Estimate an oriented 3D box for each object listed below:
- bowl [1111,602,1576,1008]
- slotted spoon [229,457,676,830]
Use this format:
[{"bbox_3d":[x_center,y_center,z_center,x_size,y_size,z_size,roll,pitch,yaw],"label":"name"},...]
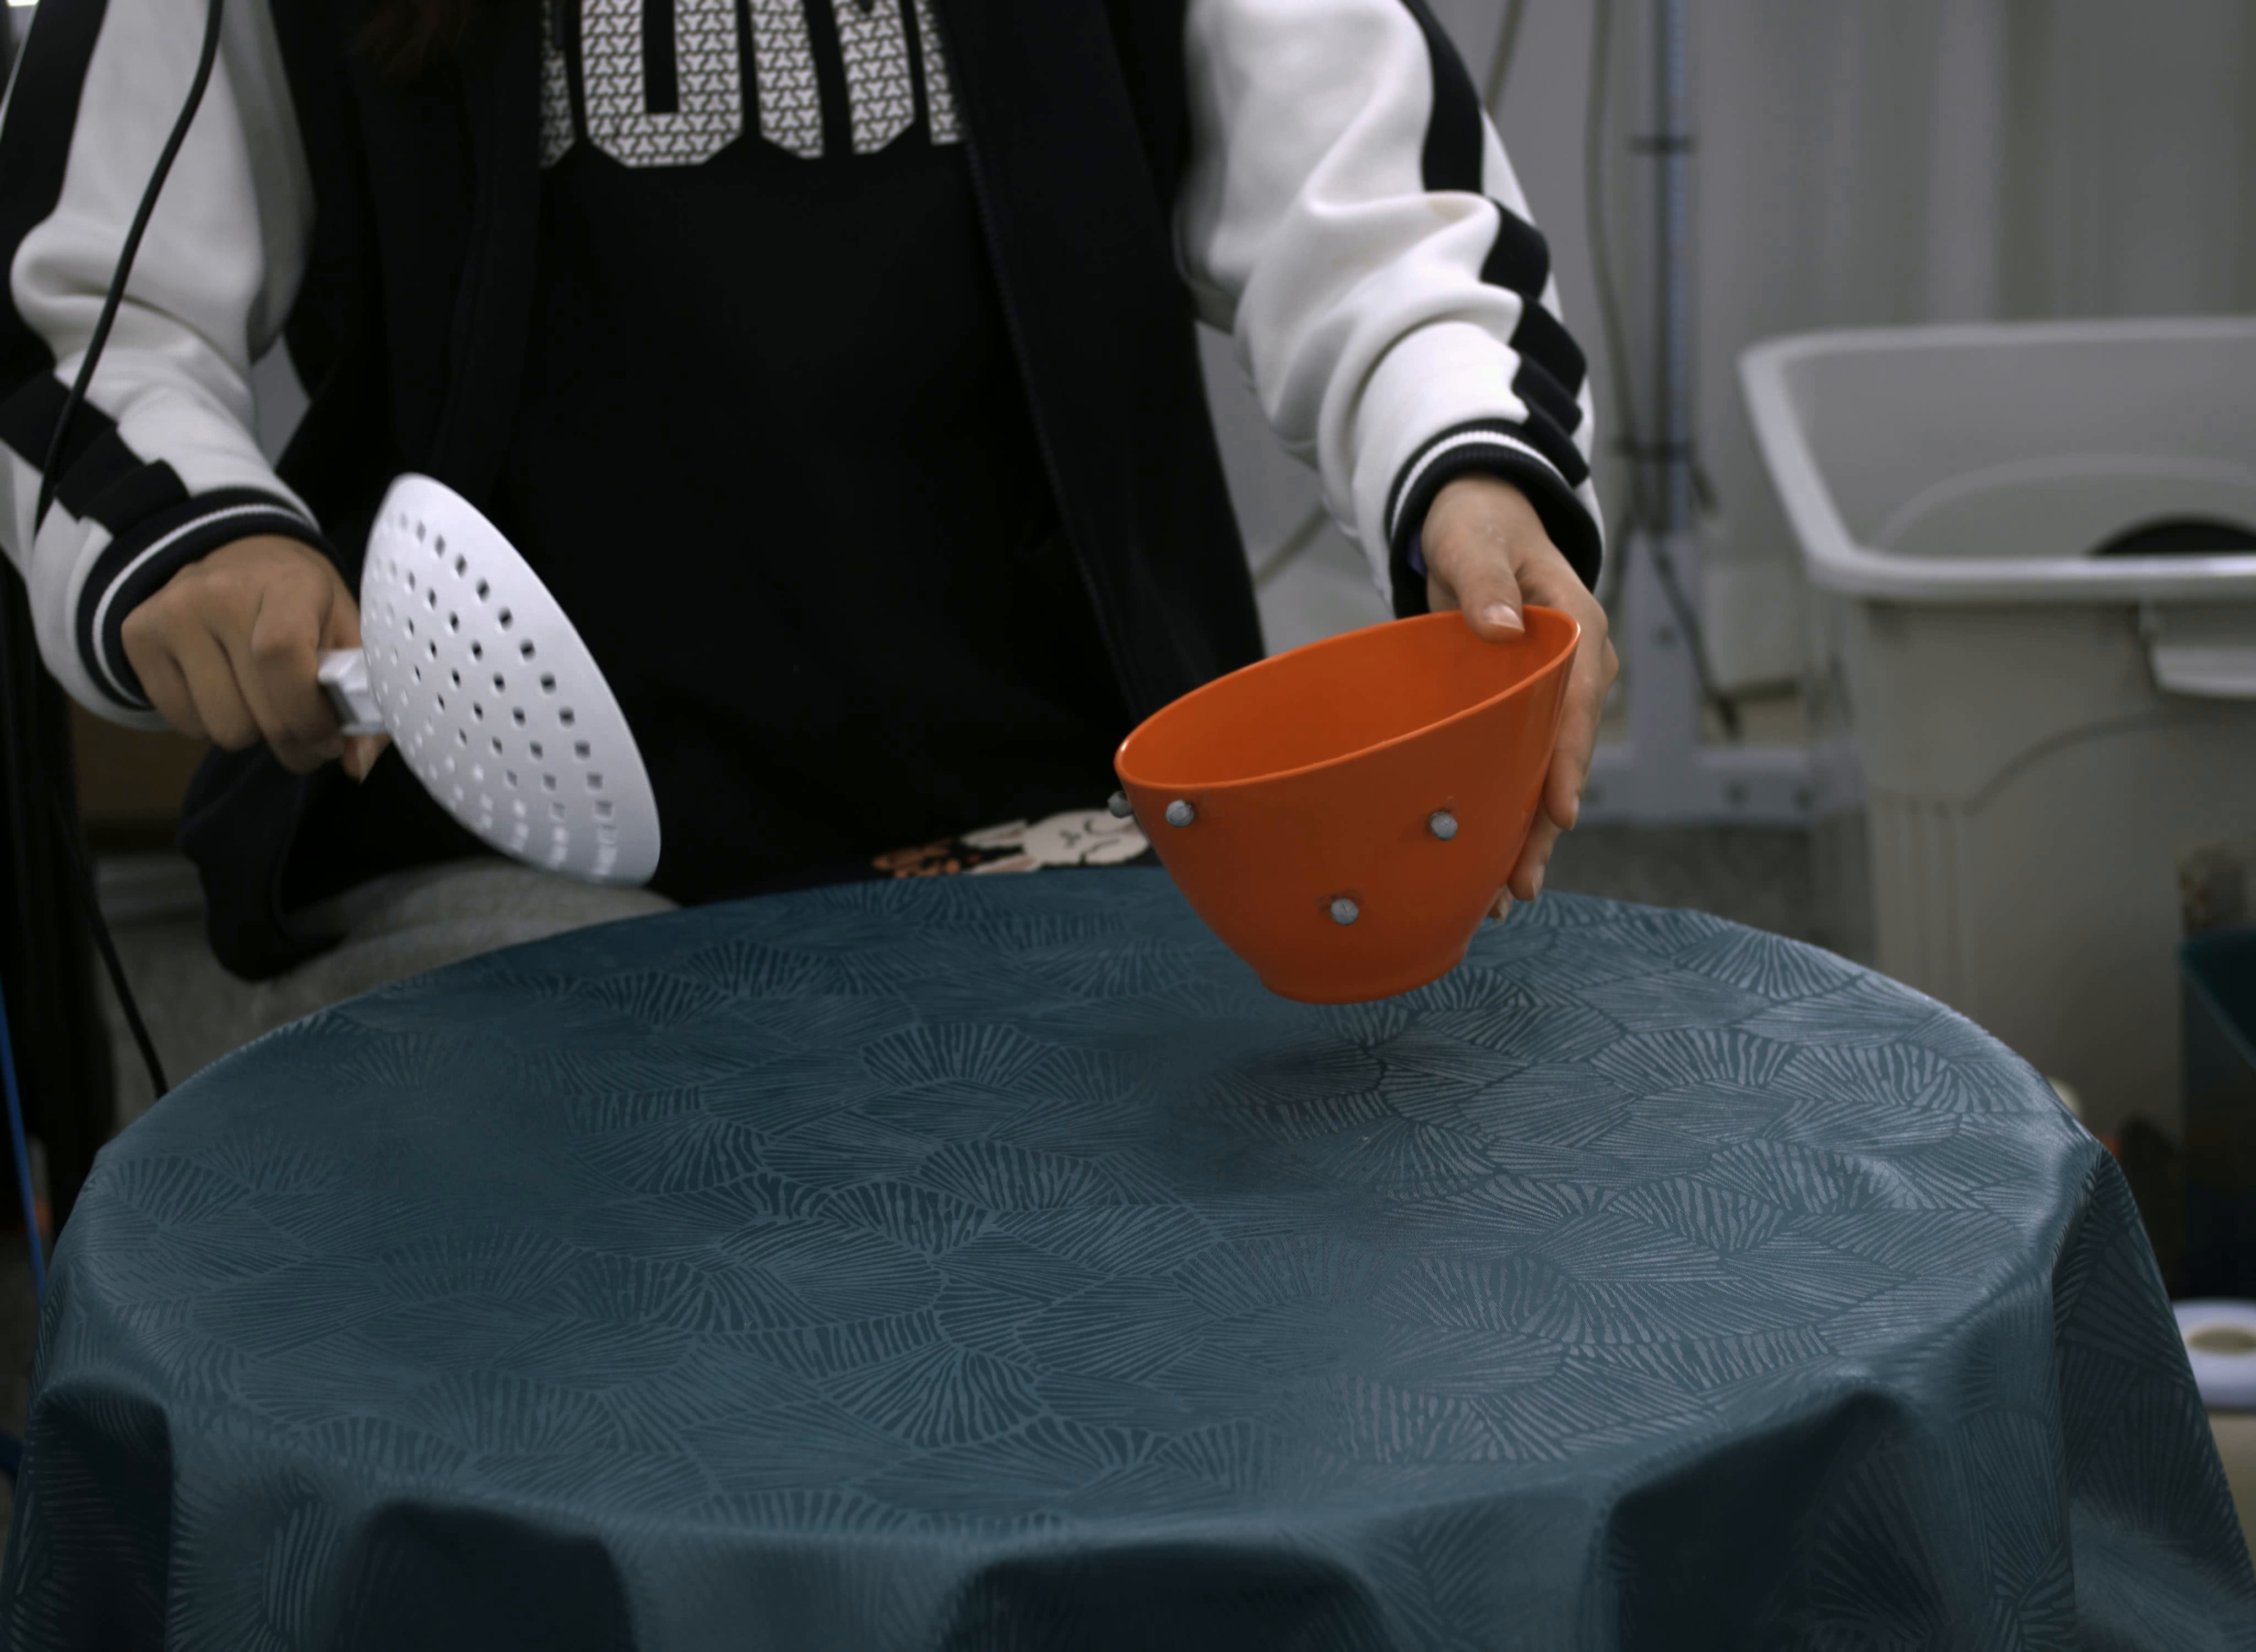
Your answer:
[{"bbox_3d":[0.073,-0.002,1.636,0.148,0.104,0.149,-11,22,3],"label":"bowl"},{"bbox_3d":[-0.226,-0.048,1.654,0.045,0.135,0.355,-40,14,-13],"label":"slotted spoon"}]
